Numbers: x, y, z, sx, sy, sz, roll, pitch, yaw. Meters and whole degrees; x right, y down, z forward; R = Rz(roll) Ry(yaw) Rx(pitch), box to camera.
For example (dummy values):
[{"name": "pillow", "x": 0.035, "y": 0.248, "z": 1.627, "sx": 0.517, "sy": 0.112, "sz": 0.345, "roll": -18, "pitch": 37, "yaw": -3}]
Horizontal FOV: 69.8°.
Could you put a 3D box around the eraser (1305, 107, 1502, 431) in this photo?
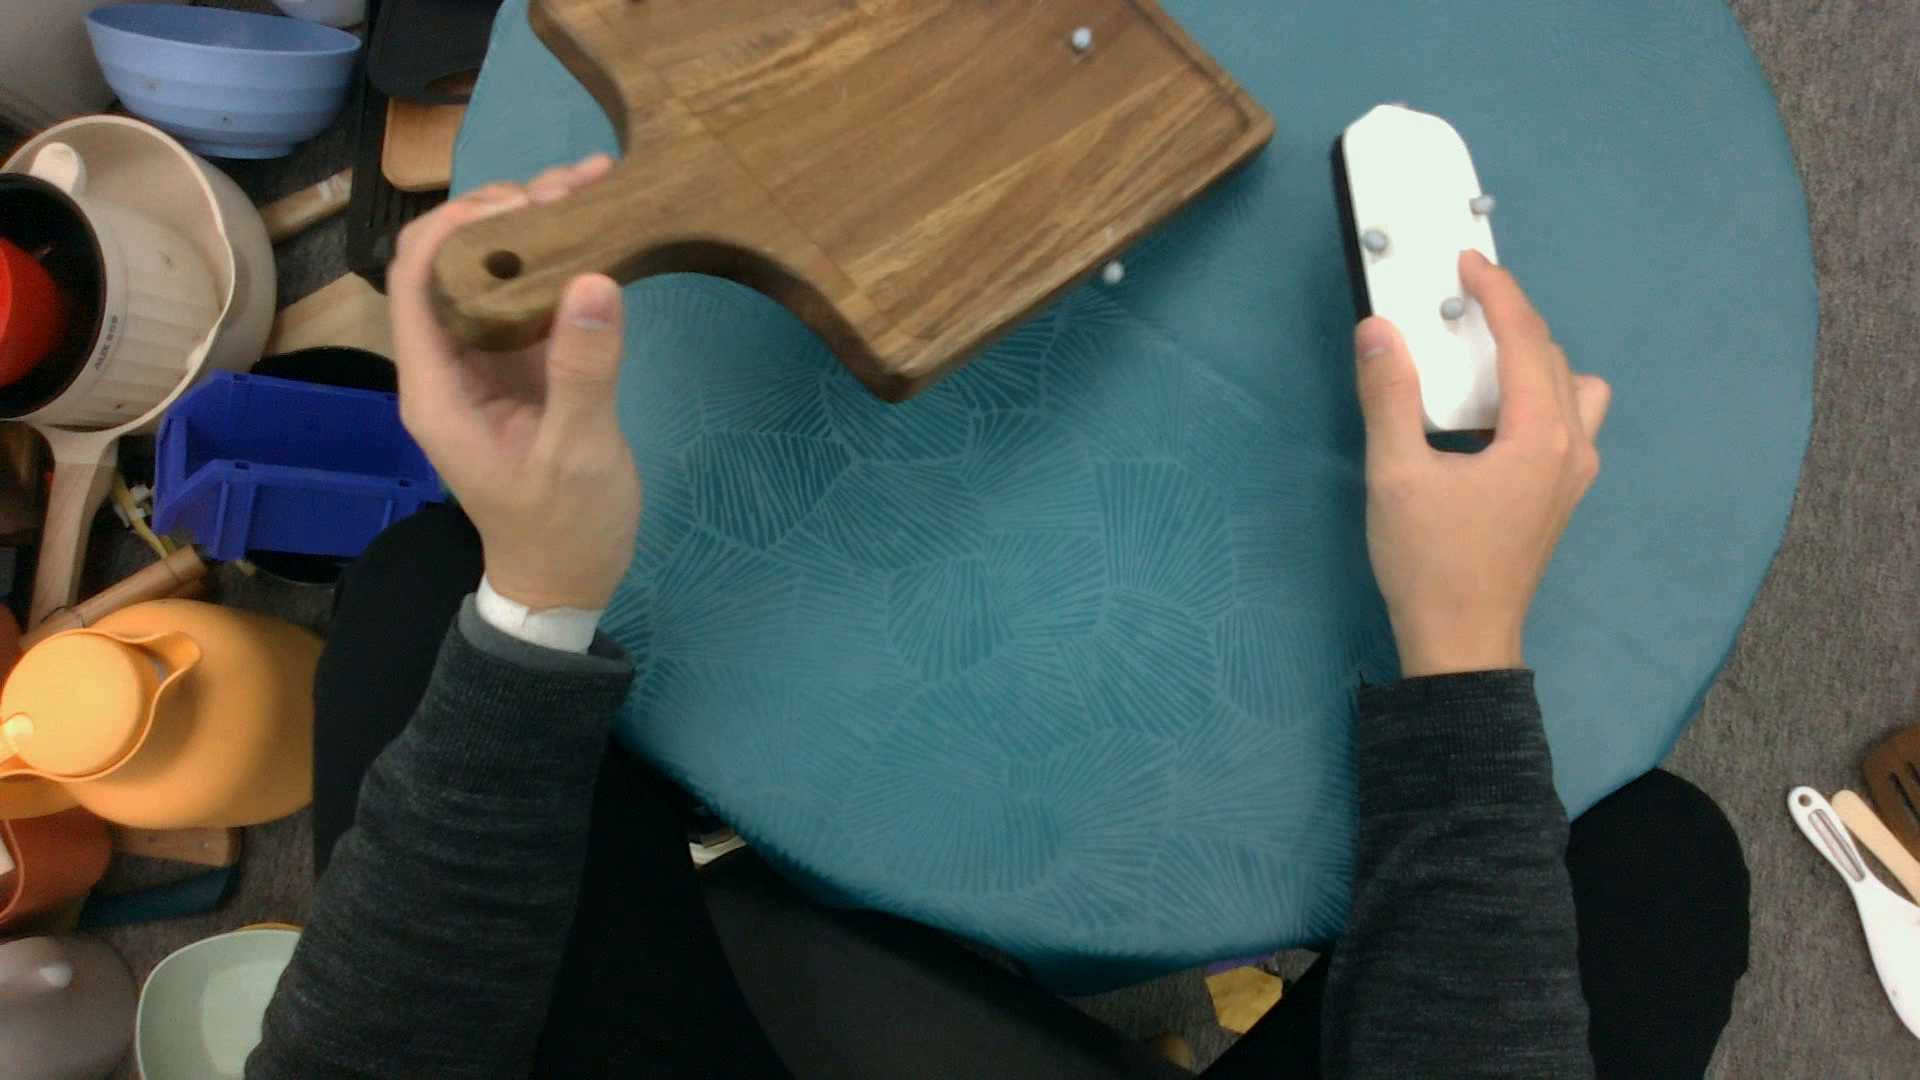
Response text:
[{"name": "eraser", "x": 0.177, "y": -0.108, "z": 0.549, "sx": 0.063, "sy": 0.034, "sz": 0.131, "roll": -4, "pitch": 79, "yaw": -37}]

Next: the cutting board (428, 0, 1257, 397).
[{"name": "cutting board", "x": -0.043, "y": -0.157, "z": 0.507, "sx": 0.201, "sy": 0.023, "sz": 0.354, "roll": 46, "pitch": 52, "yaw": 6}]
